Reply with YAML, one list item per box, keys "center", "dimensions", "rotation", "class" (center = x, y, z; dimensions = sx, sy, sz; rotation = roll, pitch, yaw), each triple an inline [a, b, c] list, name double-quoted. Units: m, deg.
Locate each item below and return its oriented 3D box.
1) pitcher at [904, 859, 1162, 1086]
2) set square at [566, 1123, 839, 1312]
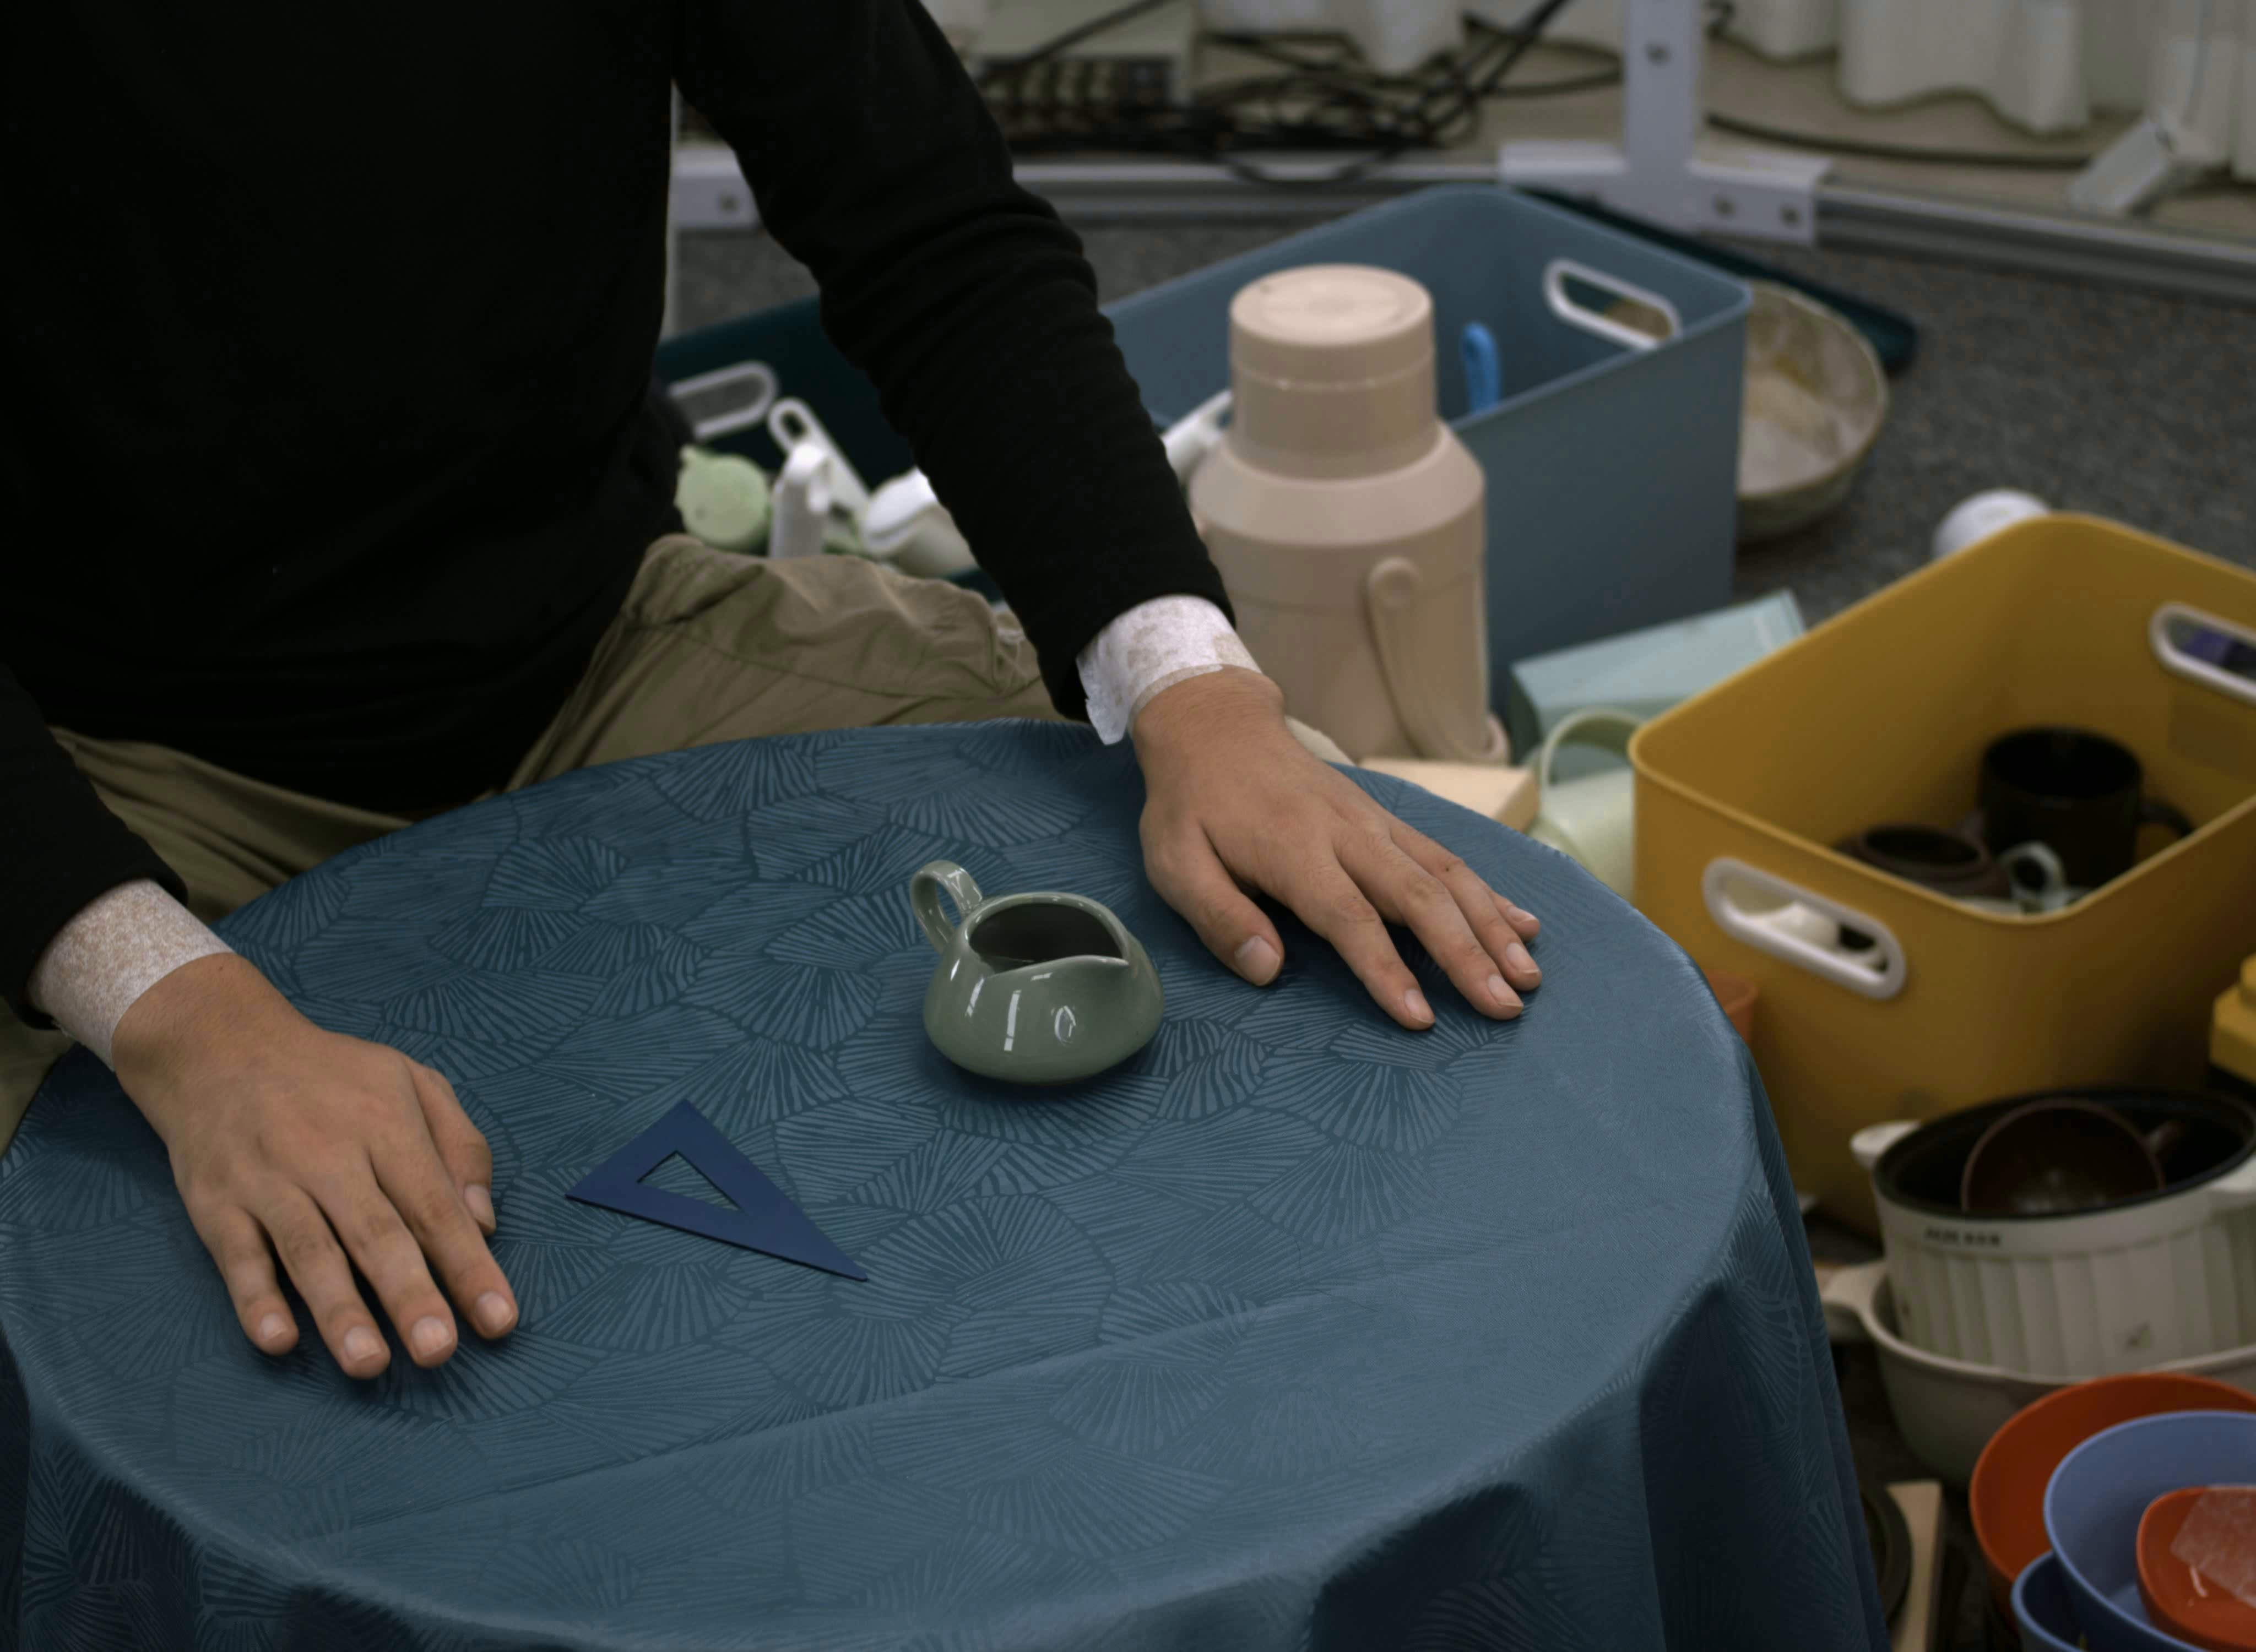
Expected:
- center: [-0.035, 0.051, 1.941]
  dimensions: [0.085, 0.055, 0.112]
  rotation: [-24, 33, -39]
  class: "pitcher"
- center: [-0.144, 0.133, 1.848]
  dimensions: [0.061, 0.006, 0.133]
  rotation: [-14, 29, -22]
  class: "set square"
